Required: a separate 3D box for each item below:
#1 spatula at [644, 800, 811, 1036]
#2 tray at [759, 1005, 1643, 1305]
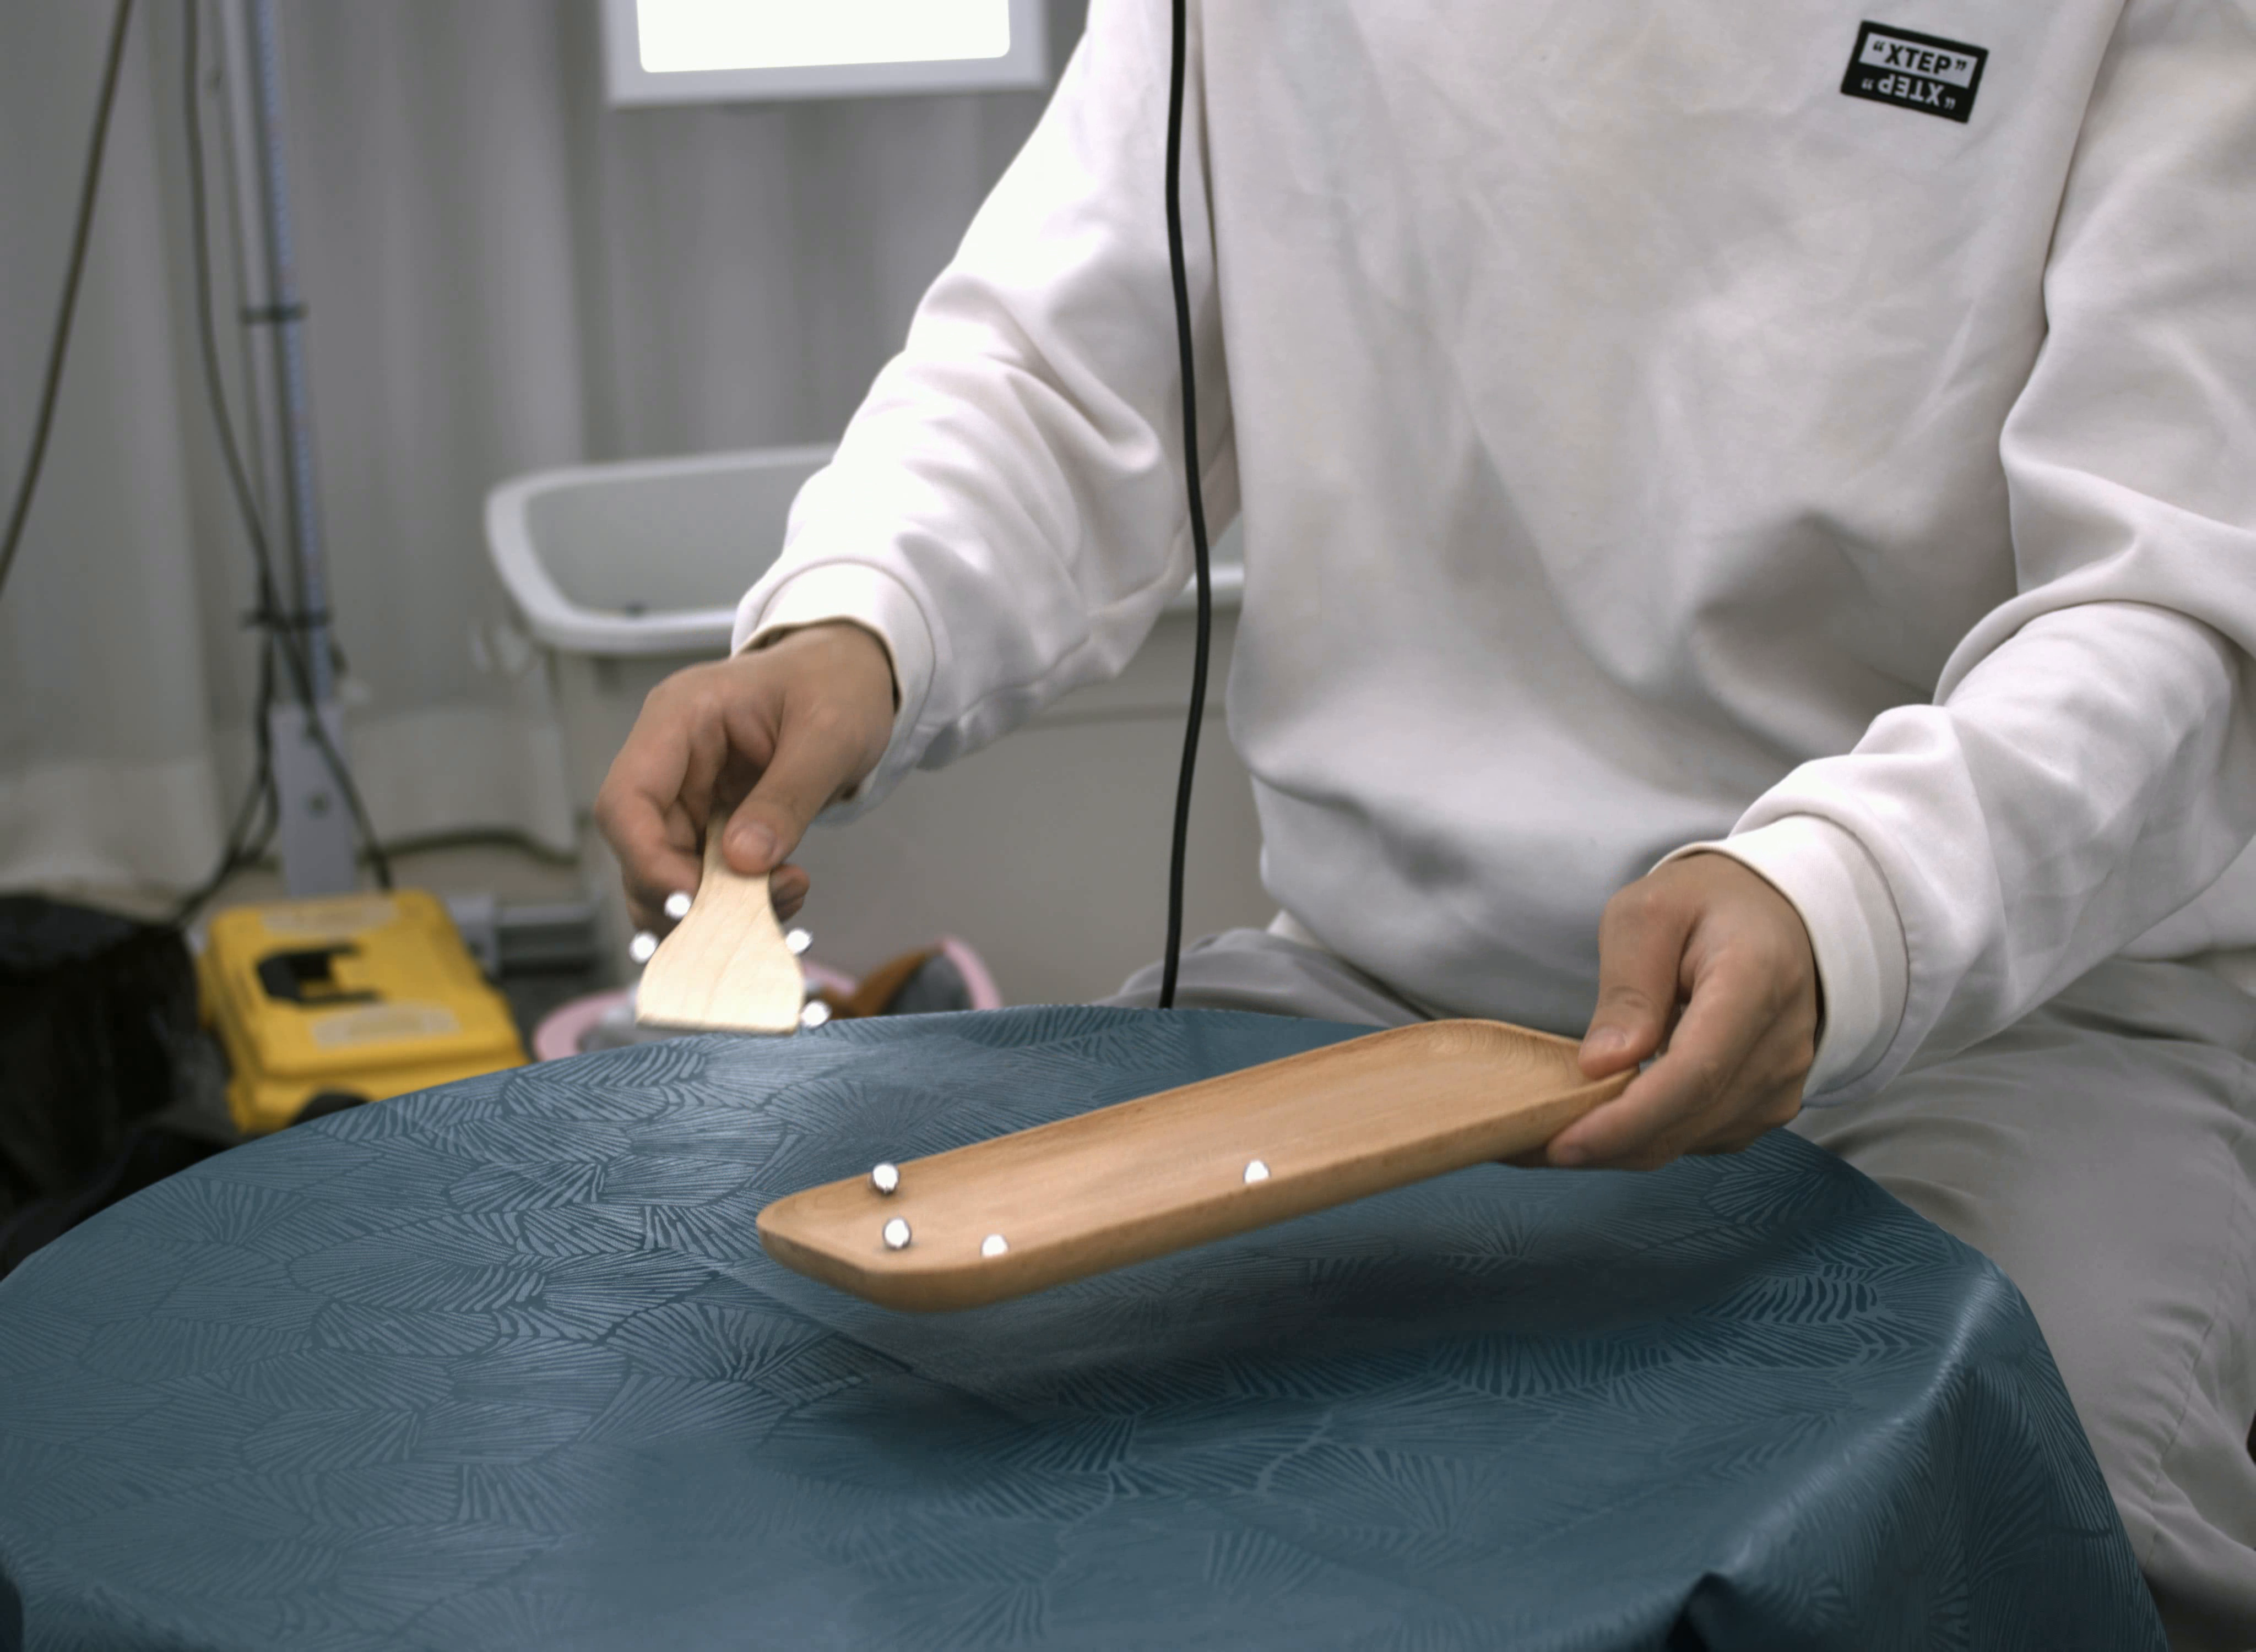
[{"bbox_3d":[-0.121,0.026,1.713,0.050,0.005,0.209,8,18,-4],"label":"spatula"},{"bbox_3d":[0.022,0.094,1.588,0.250,0.023,0.131,-14,14,-25],"label":"tray"}]
